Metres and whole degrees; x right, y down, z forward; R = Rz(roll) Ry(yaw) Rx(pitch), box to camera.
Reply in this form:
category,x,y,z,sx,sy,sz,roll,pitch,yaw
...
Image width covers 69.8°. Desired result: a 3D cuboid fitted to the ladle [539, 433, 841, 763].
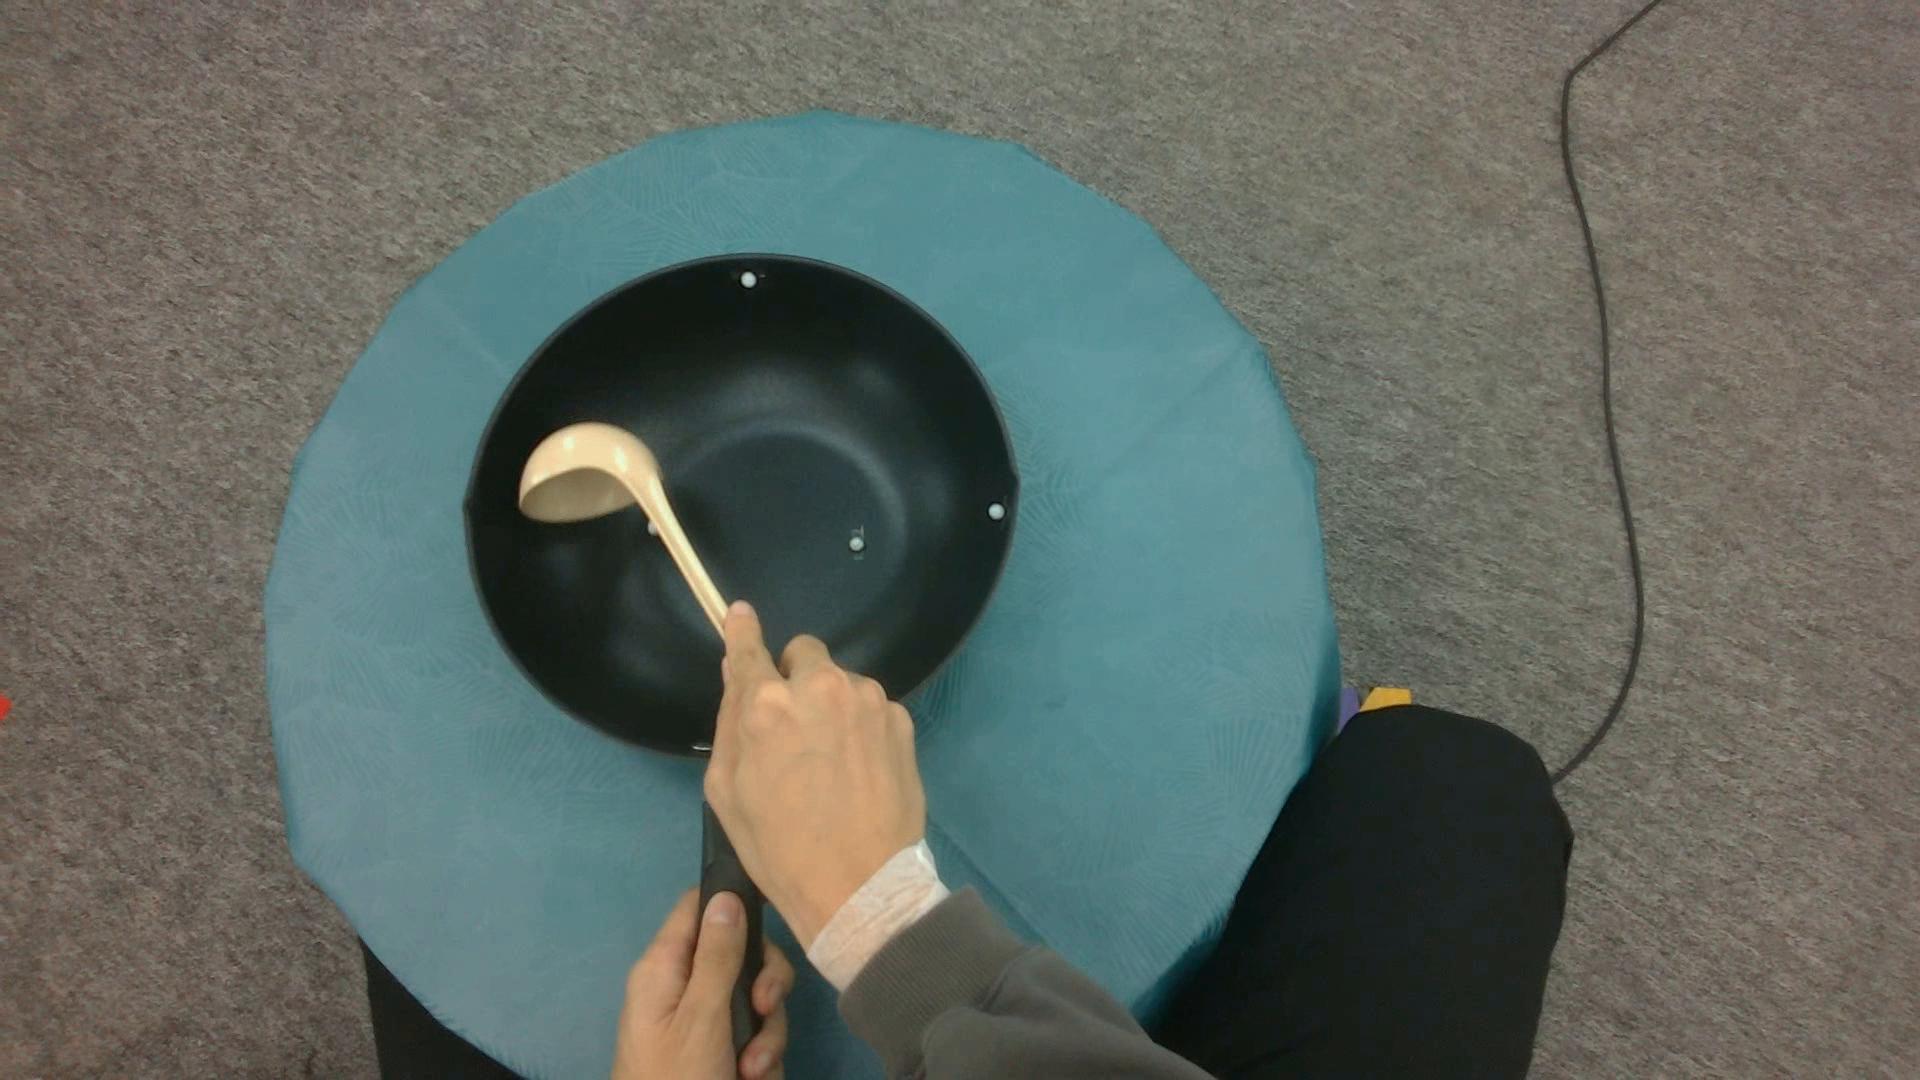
category,x,y,z,sx,sy,sz,roll,pitch,yaw
ladle,-0.139,0.041,0.691,0.255,0.072,0.072,52,121,33

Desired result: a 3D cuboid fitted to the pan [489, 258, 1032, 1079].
category,x,y,z,sx,sy,sz,roll,pitch,yaw
pan,-0.103,0.076,0.729,0.288,0.086,0.464,-1,72,2
